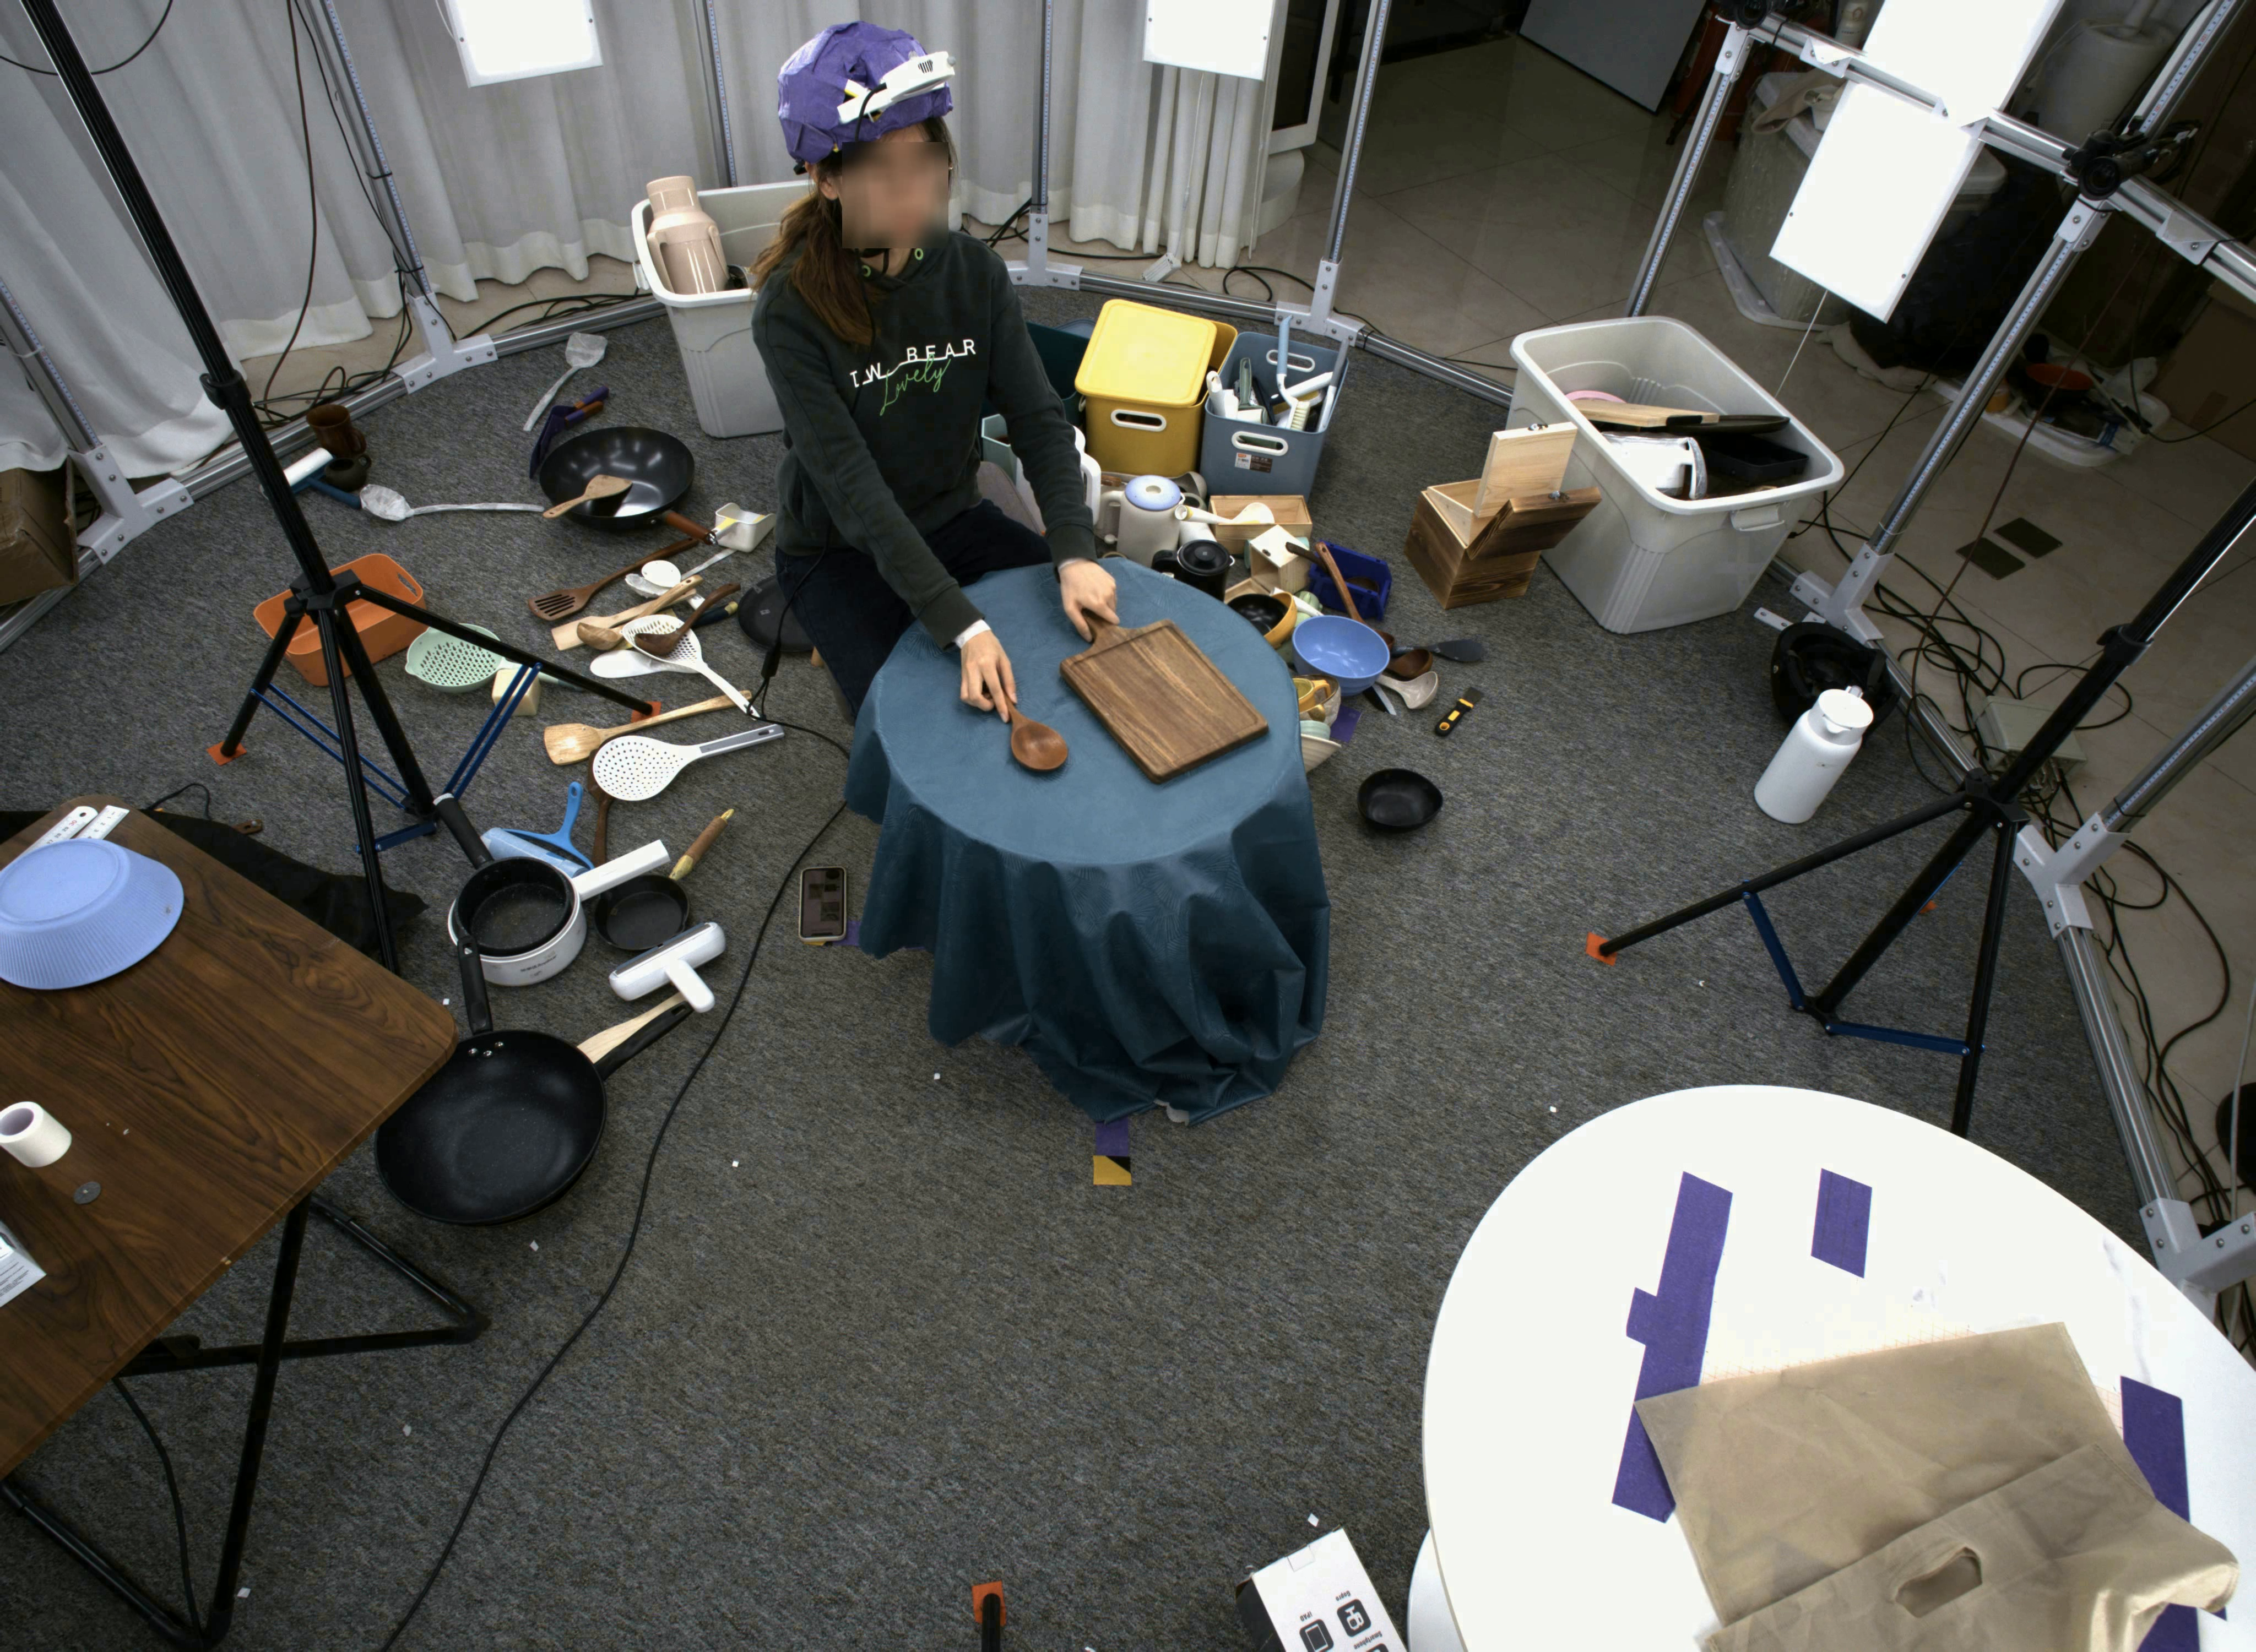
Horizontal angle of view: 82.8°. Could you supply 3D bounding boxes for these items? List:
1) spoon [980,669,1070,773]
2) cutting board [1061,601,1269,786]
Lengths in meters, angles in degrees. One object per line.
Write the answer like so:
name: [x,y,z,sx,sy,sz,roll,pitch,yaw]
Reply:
spoon: [-0.151,-0.148,1.790,0.076,0.017,0.220,-23,55,-20]
cutting board: [0.023,-0.215,1.855,0.202,0.022,0.359,-25,57,-22]
